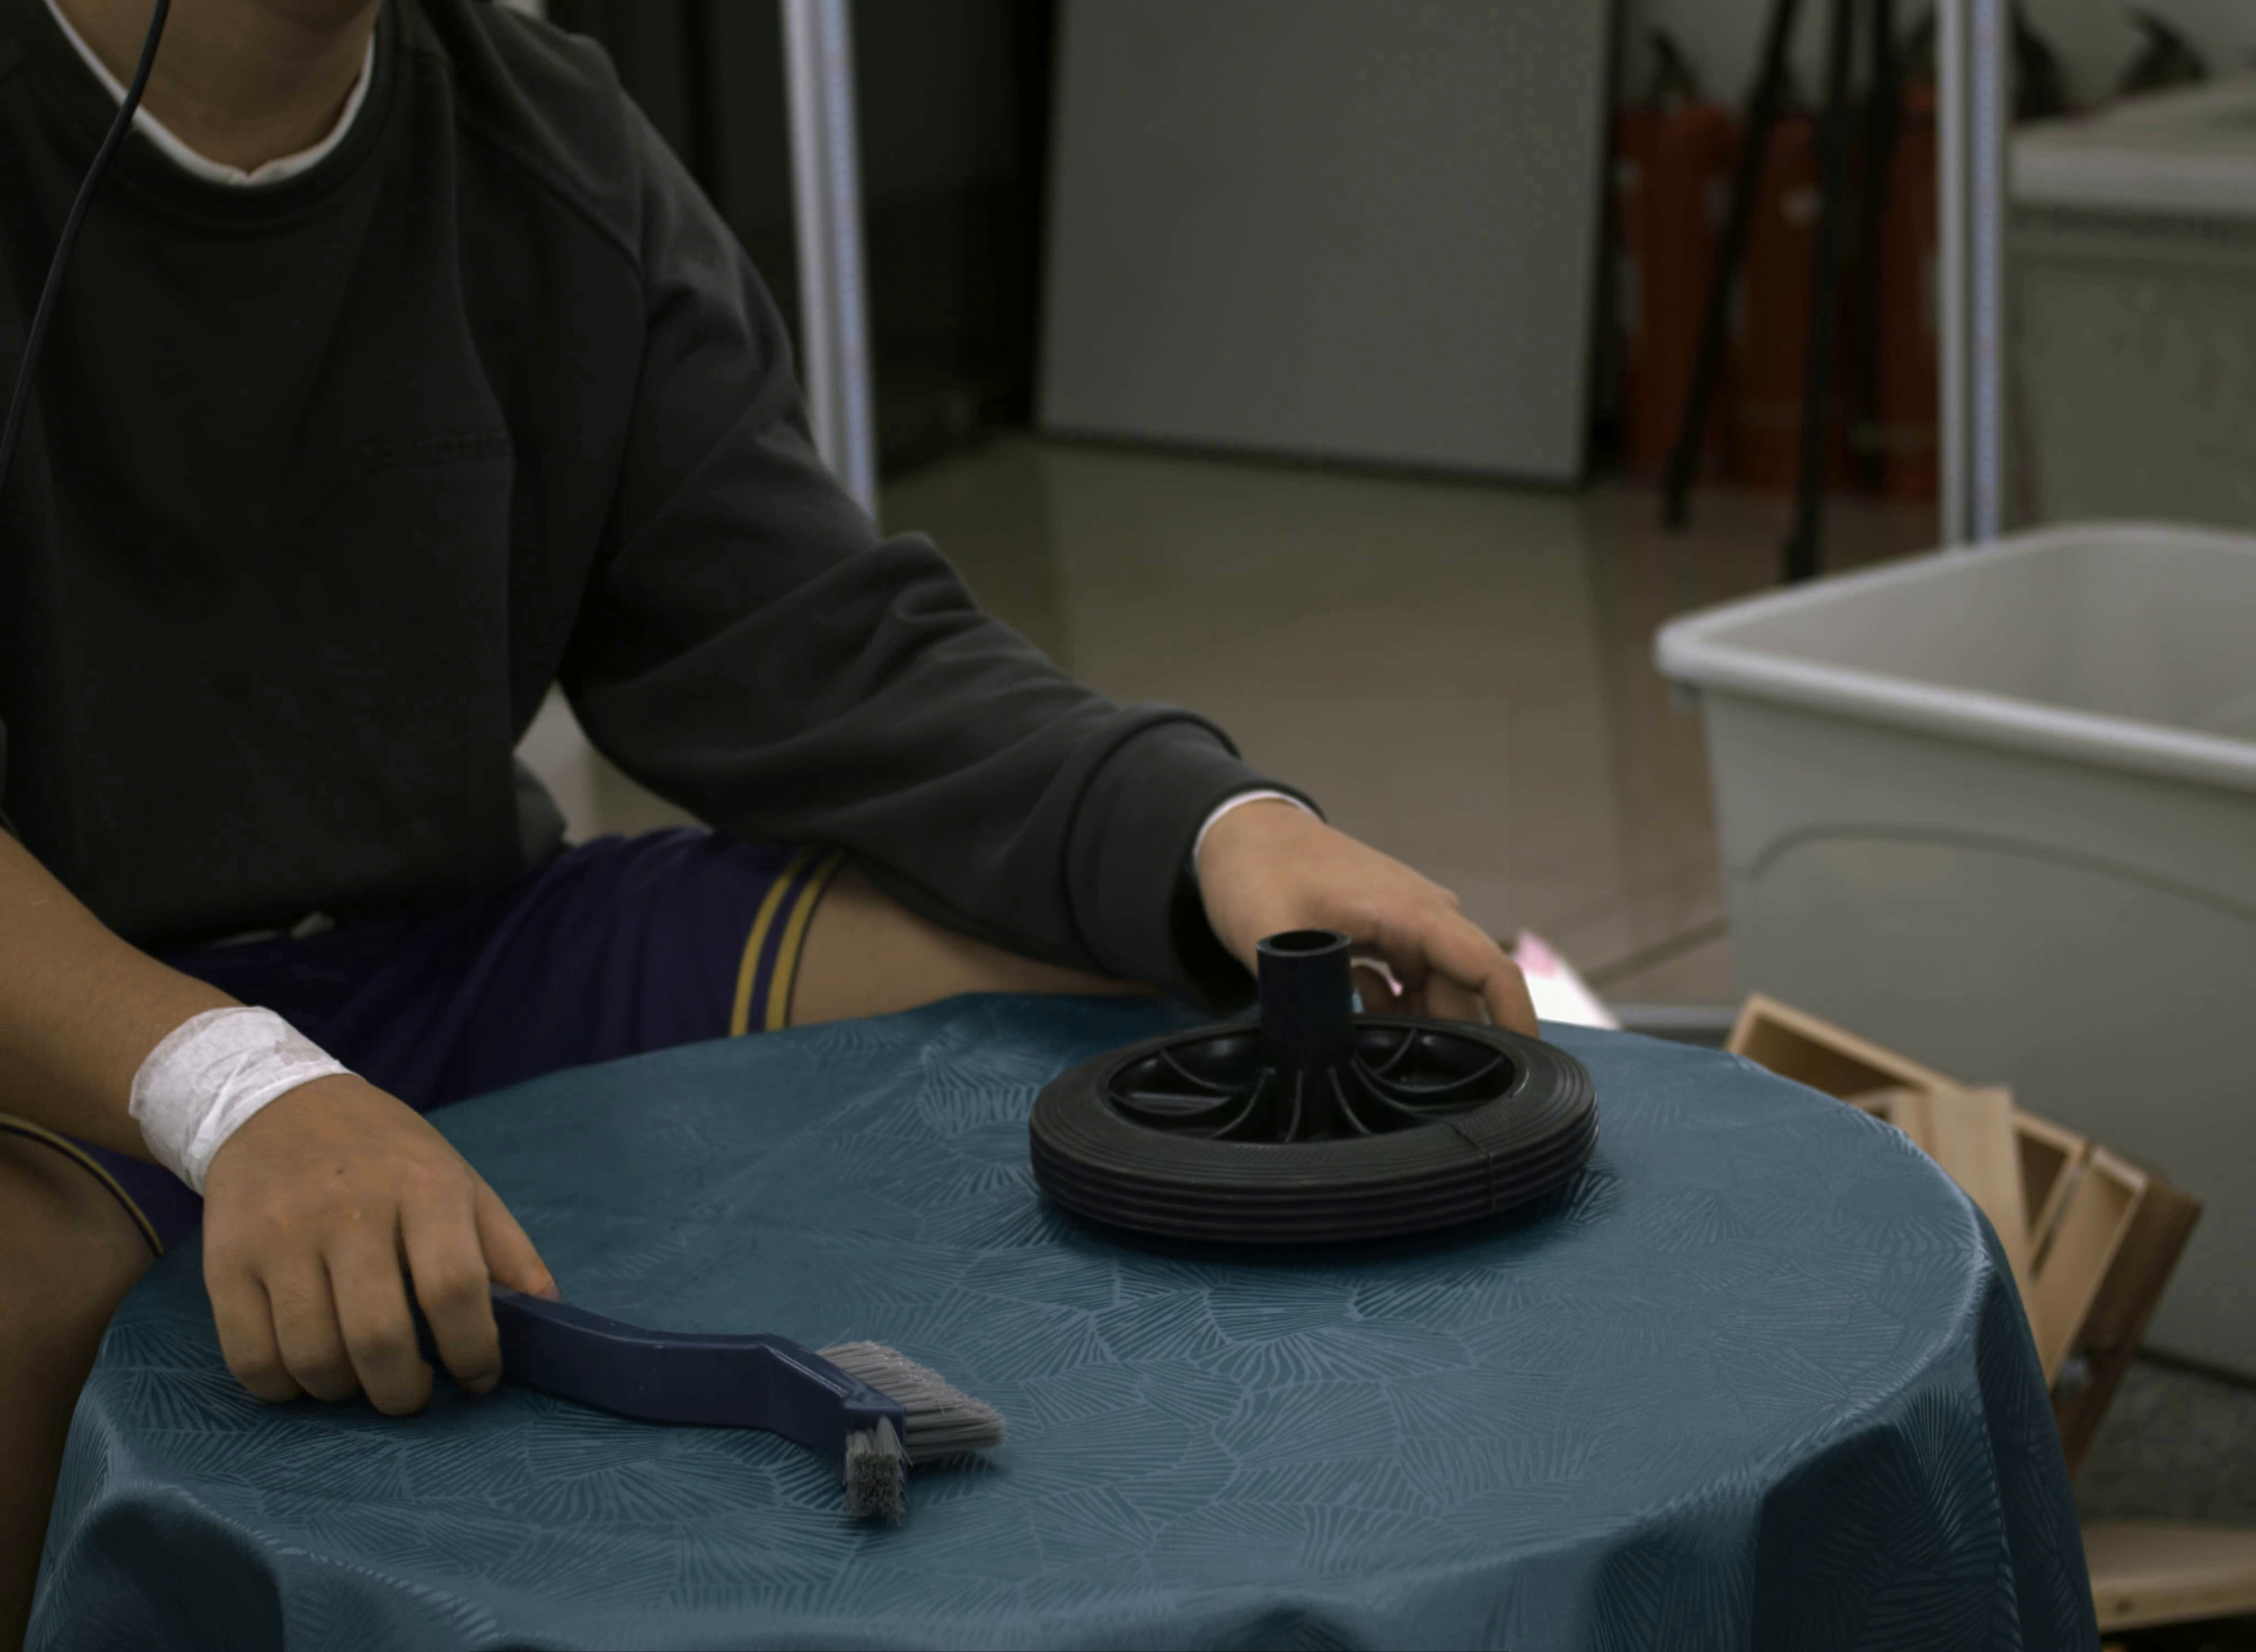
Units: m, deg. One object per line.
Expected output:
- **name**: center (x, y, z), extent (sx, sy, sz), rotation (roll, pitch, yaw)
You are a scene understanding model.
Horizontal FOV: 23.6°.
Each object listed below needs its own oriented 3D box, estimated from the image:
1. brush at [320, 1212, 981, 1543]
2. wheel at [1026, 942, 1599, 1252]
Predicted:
- **brush**: center (-0.158, 0.159, 1.592), extent (0.275, 0.034, 0.094), rotation (8, 18, 36)
- **wheel**: center (0.059, 0.080, 1.757), extent (0.187, 0.080, 0.187), rotation (-4, 14, 2)
